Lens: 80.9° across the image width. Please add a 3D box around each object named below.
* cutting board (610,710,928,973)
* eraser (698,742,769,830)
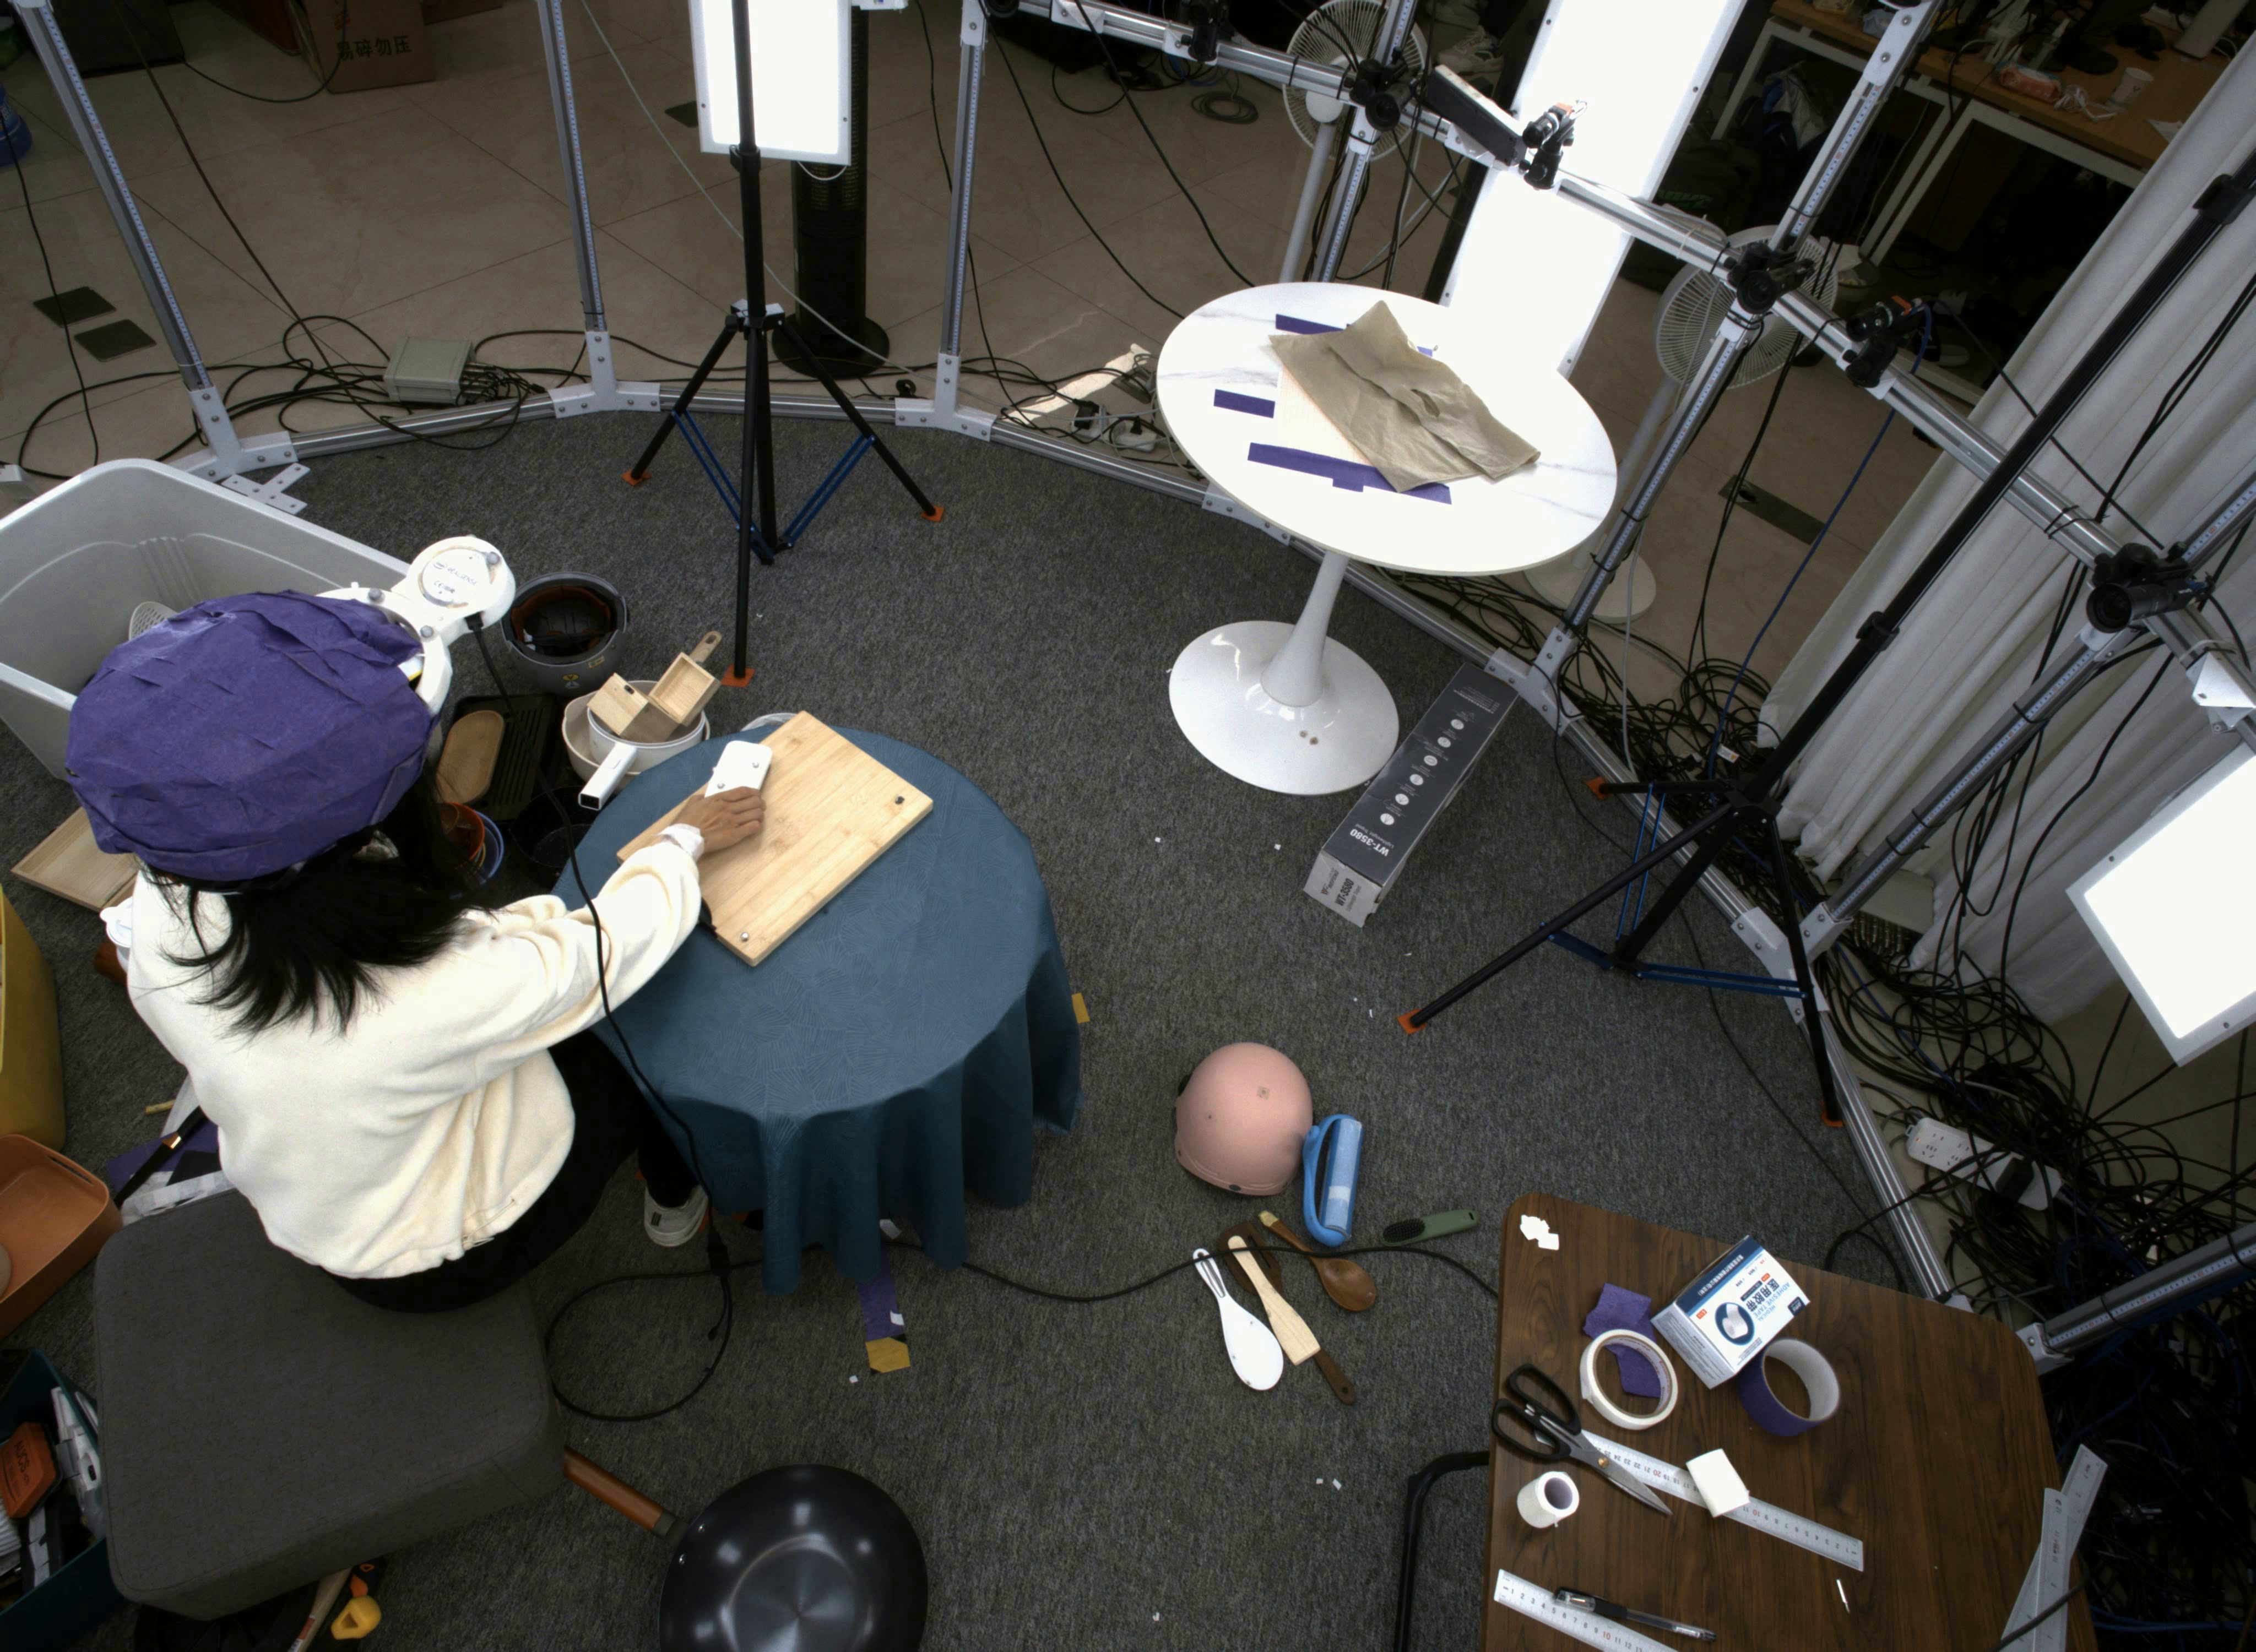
[{"bbox_3d":[-0.462,0.009,1.693,0.246,0.024,0.348,33,53,11],"label":"cutting board"},{"bbox_3d":[-0.518,-0.056,1.693,0.063,0.035,0.129,13,51,-4],"label":"eraser"}]
